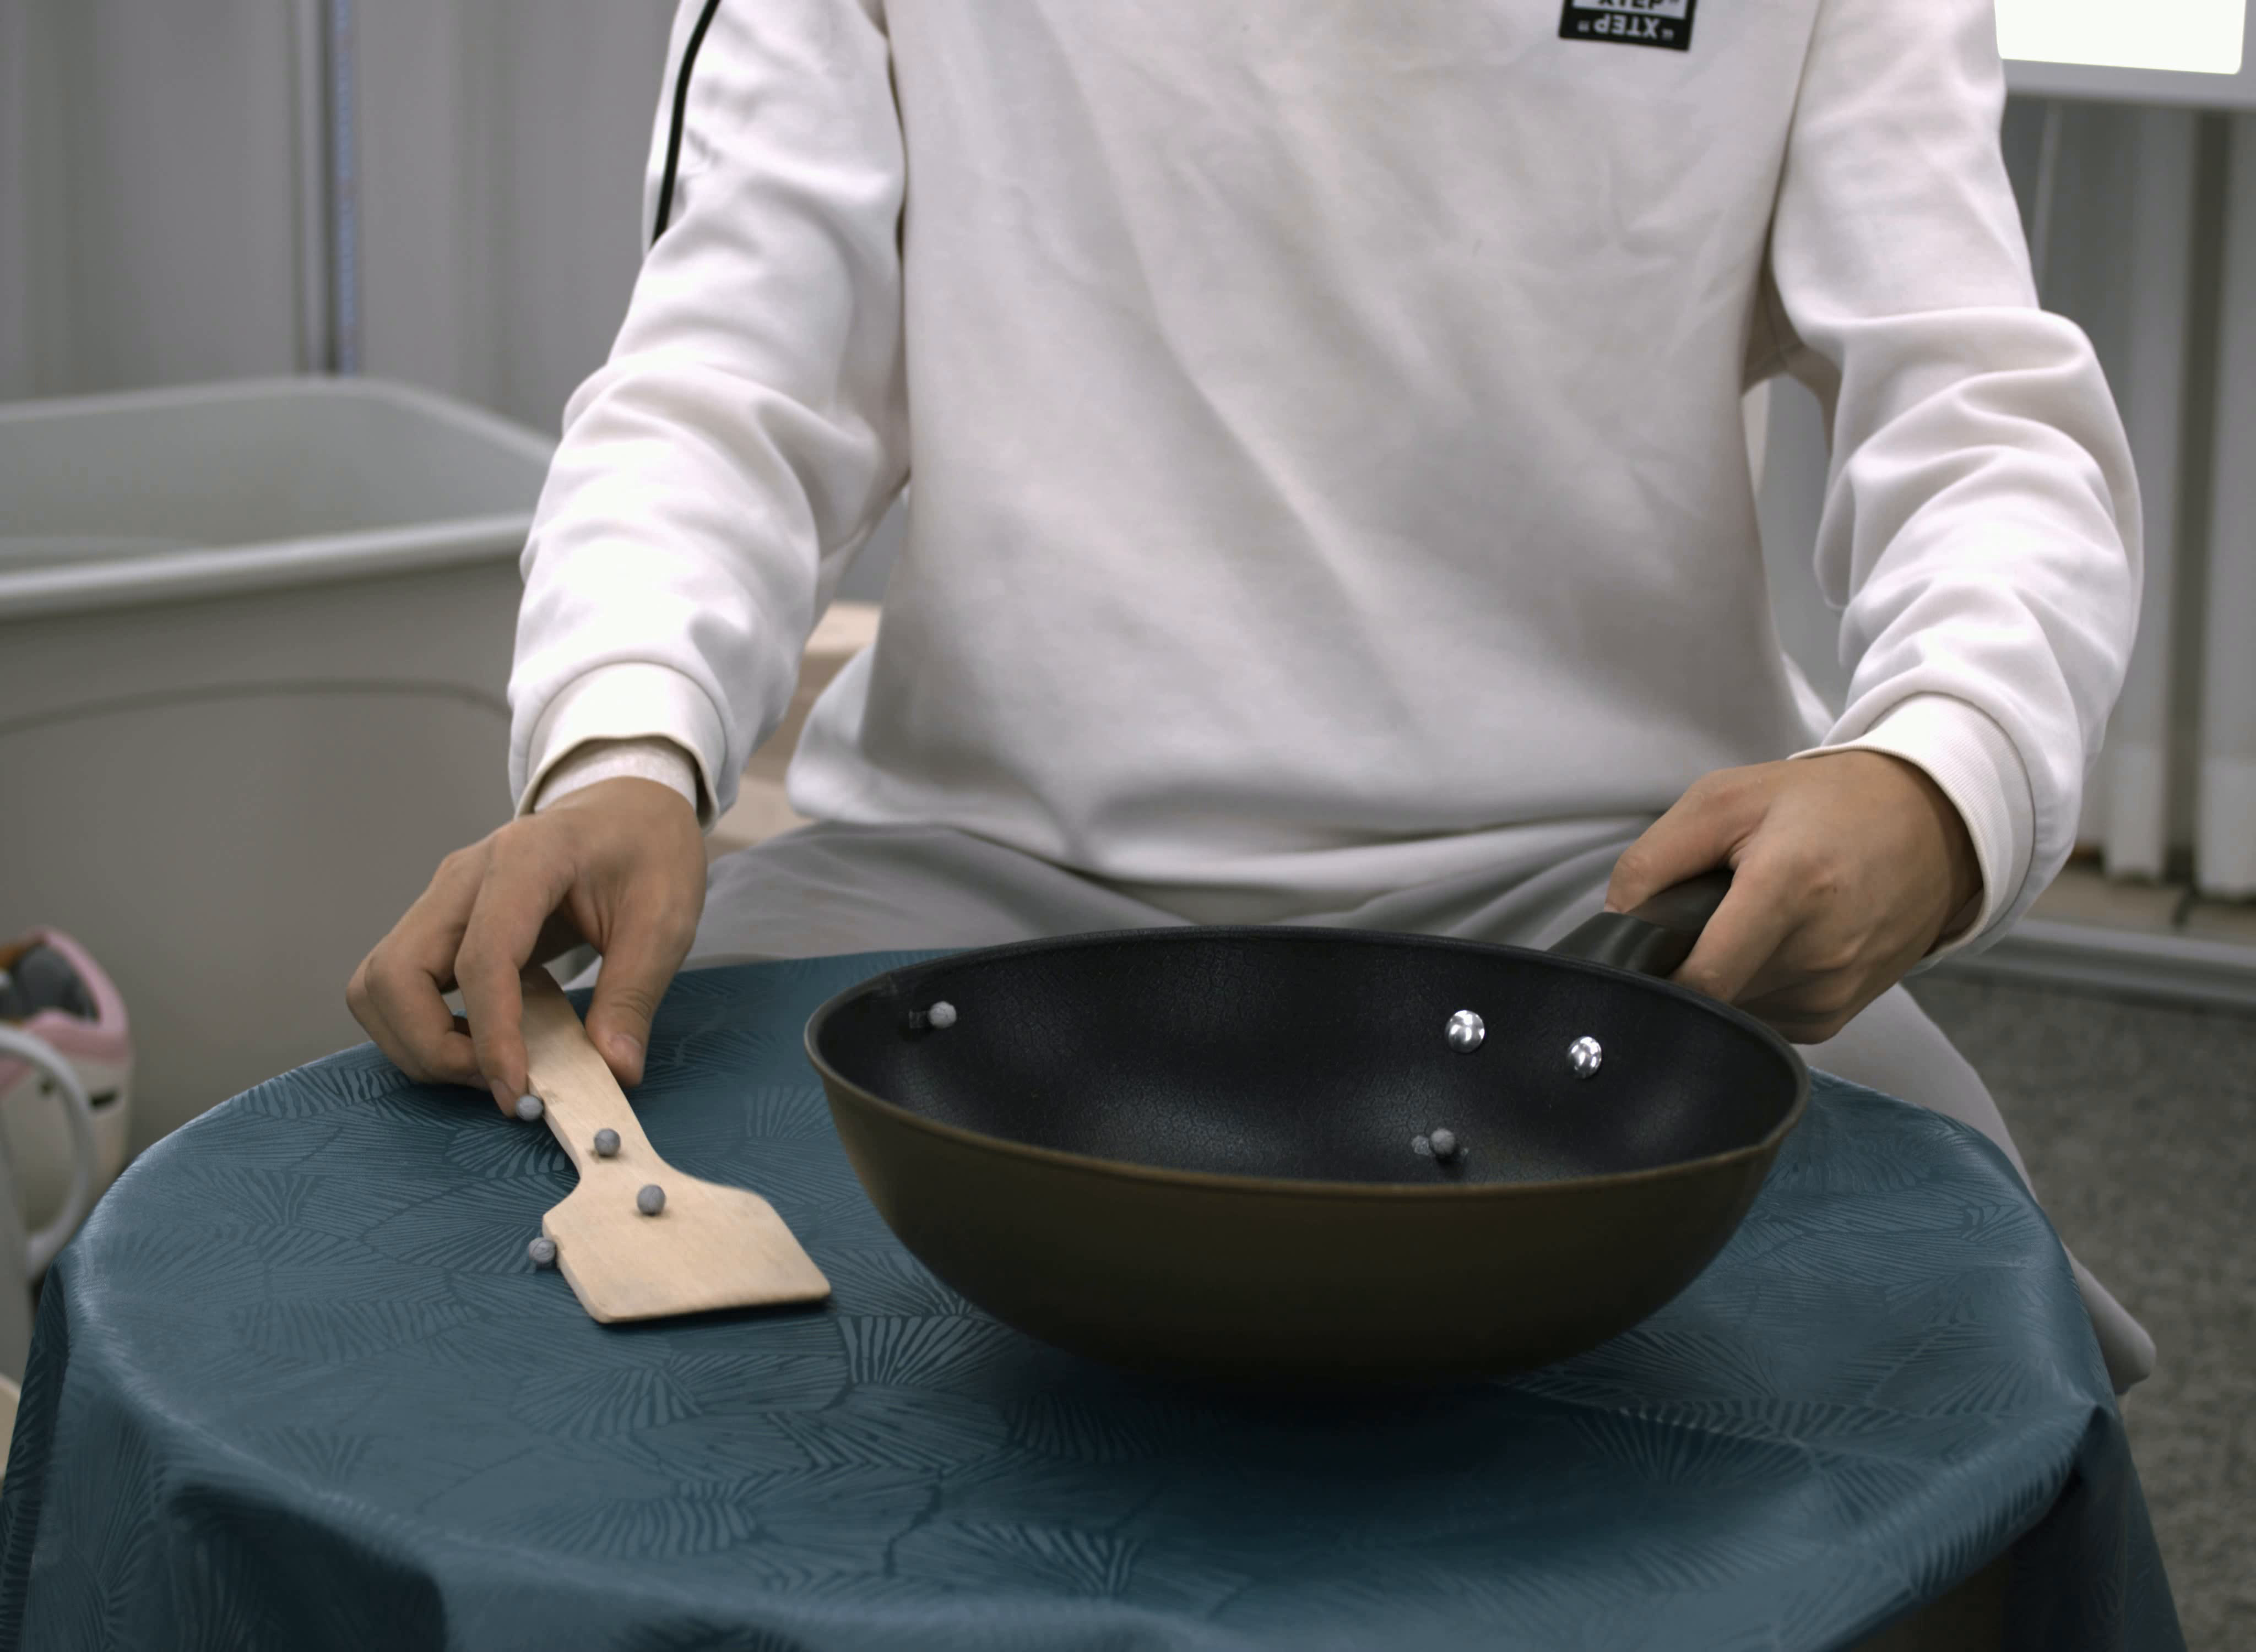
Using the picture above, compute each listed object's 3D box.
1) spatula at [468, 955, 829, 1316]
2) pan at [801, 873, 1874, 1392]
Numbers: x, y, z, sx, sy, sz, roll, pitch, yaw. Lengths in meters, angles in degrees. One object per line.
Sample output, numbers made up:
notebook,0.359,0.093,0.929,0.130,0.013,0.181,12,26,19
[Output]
spatula,-0.165,0.093,1.644,0.072,0.011,0.289,-8,21,-18
pan,0.098,0.083,1.554,0.284,0.087,0.466,11,14,32
